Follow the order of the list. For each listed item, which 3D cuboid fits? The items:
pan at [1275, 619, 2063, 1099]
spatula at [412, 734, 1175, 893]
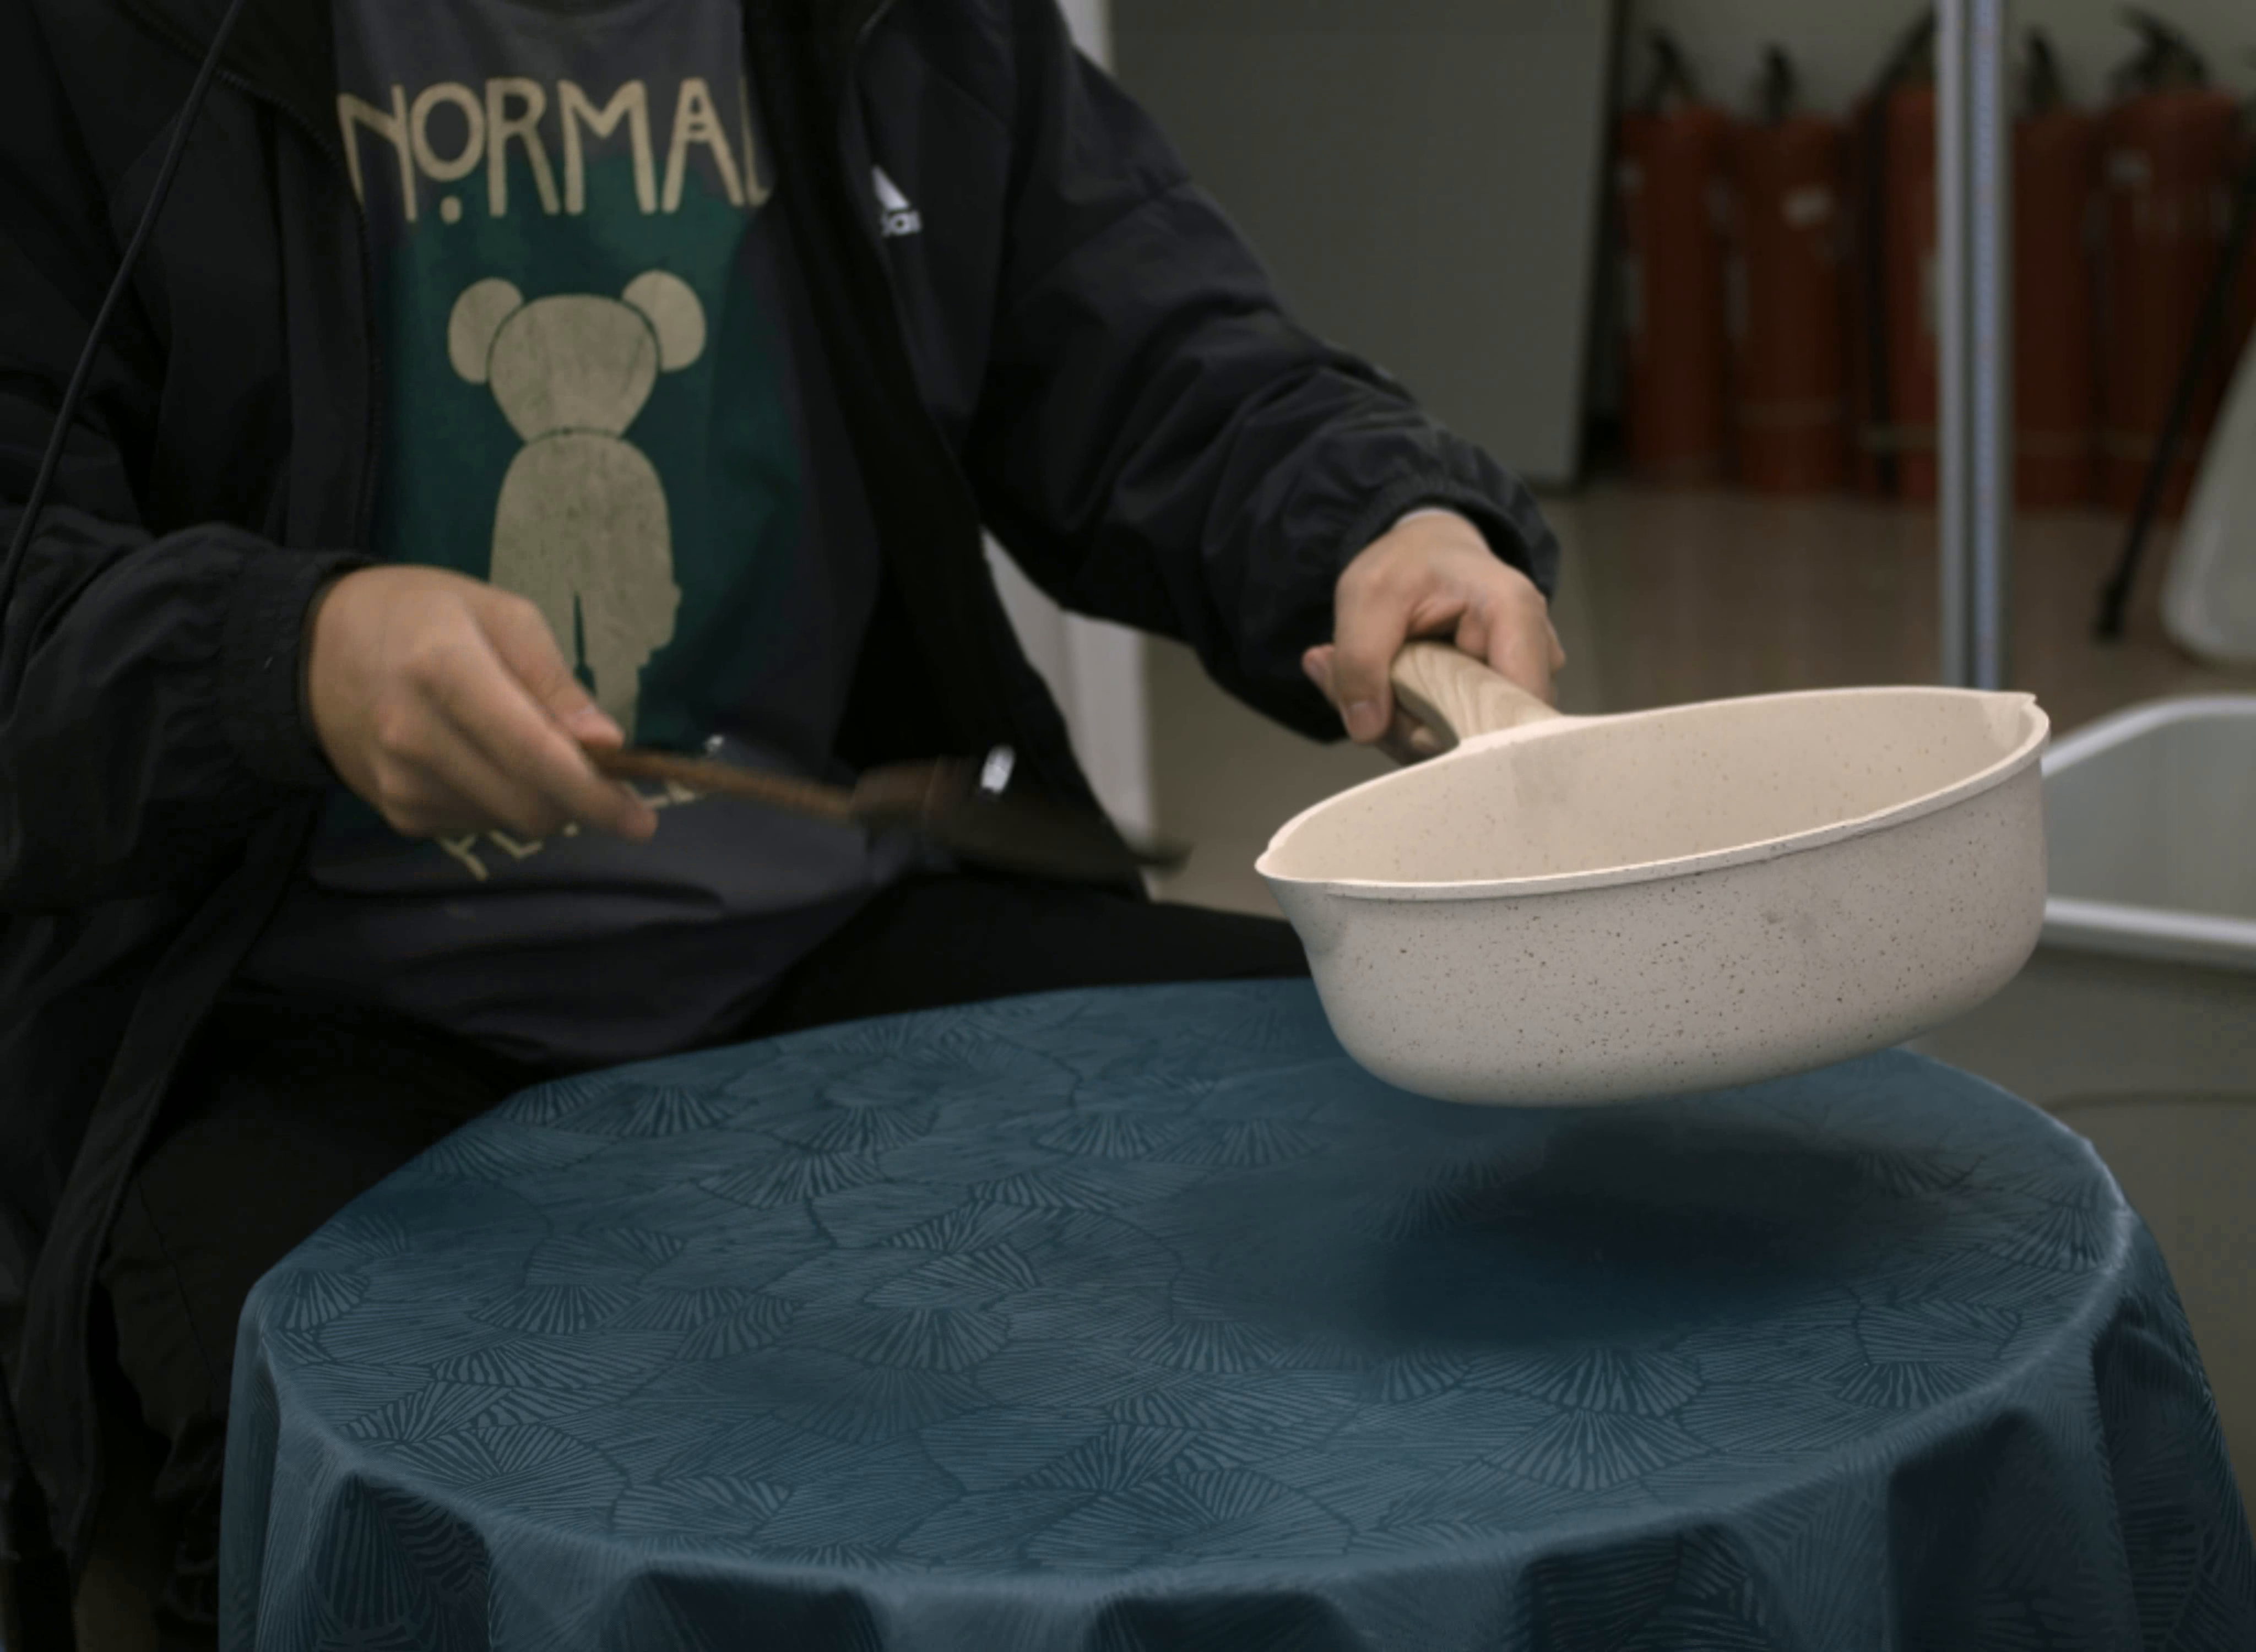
[{"bbox_3d":[0.154,0.000,1.792,0.259,0.103,0.438,-15,11,-12],"label":"pan"},{"bbox_3d":[-0.127,-0.007,1.720,0.094,0.016,0.390,16,-4,-37],"label":"spatula"}]
